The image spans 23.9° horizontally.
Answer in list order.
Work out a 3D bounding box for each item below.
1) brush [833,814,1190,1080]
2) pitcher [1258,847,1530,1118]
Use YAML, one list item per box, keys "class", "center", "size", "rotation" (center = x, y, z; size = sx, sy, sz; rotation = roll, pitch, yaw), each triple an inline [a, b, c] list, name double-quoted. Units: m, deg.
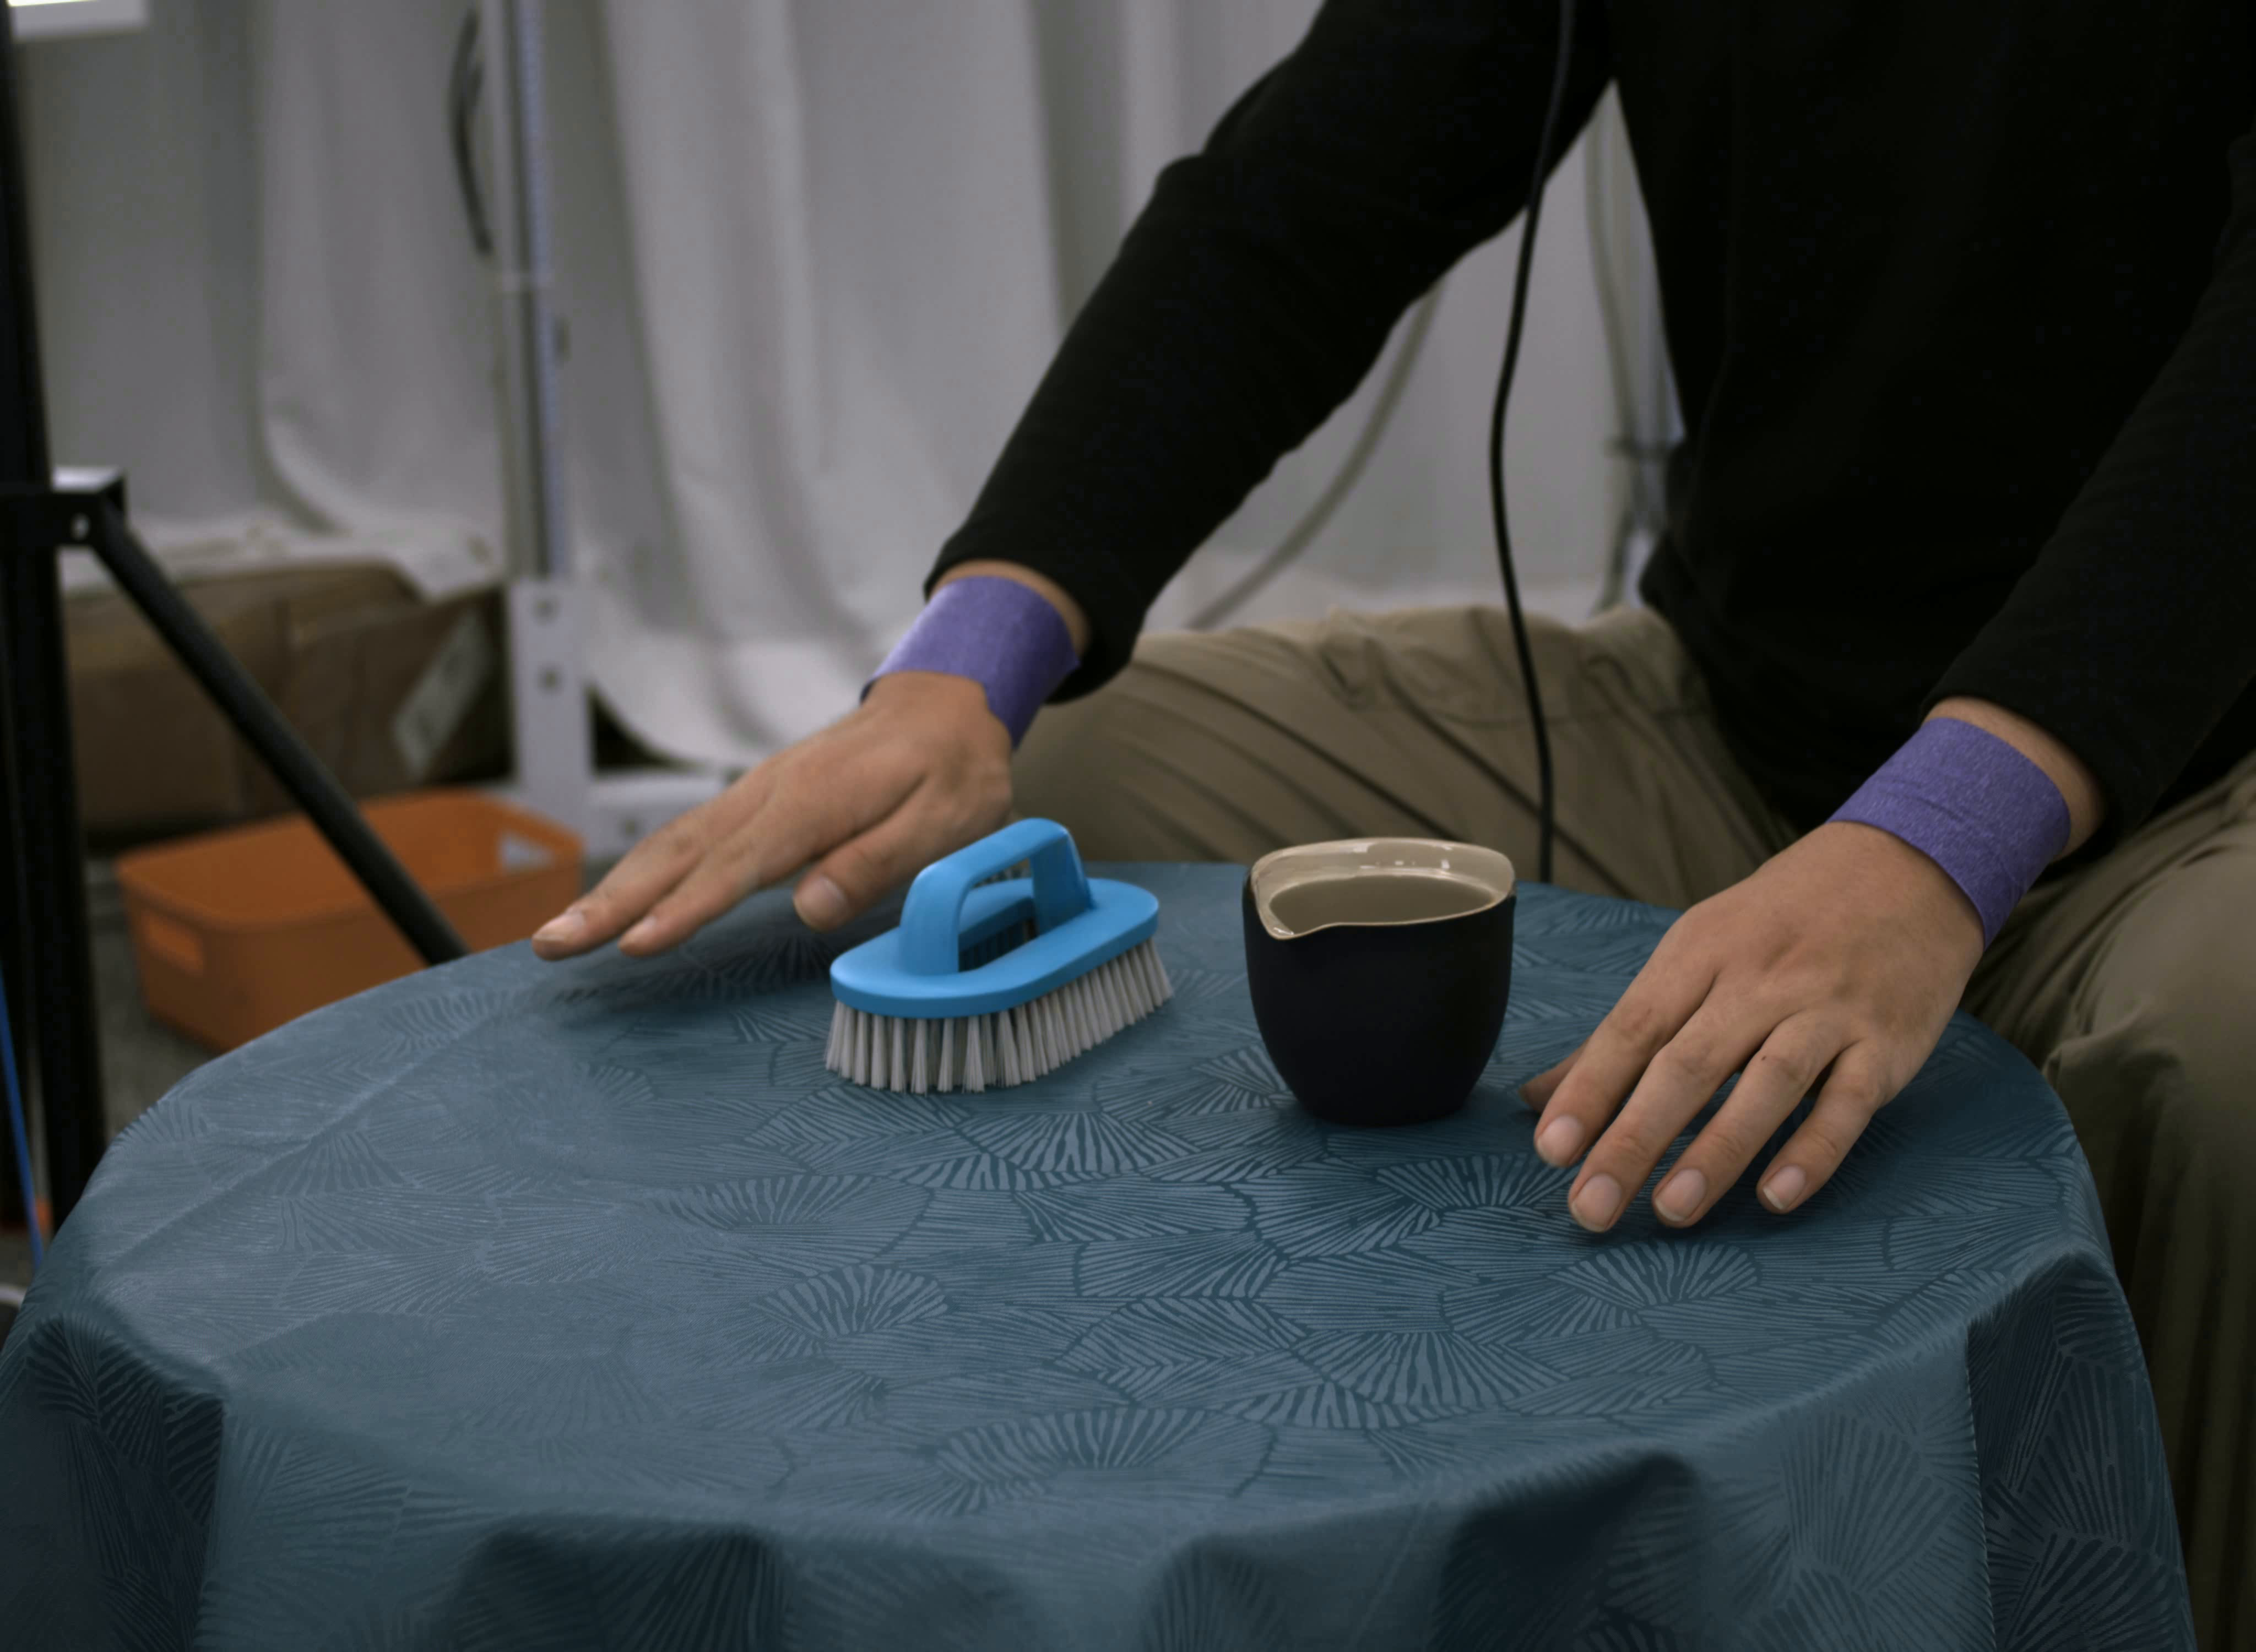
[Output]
- class: "brush"
  center: [-0.039, 0.034, 1.708]
  size: [0.086, 0.064, 0.139]
  rotation: [2, 15, 32]
- class: "pitcher"
  center: [0.078, 0.049, 1.616]
  size: [0.085, 0.071, 0.094]
  rotation: [13, 23, 40]
